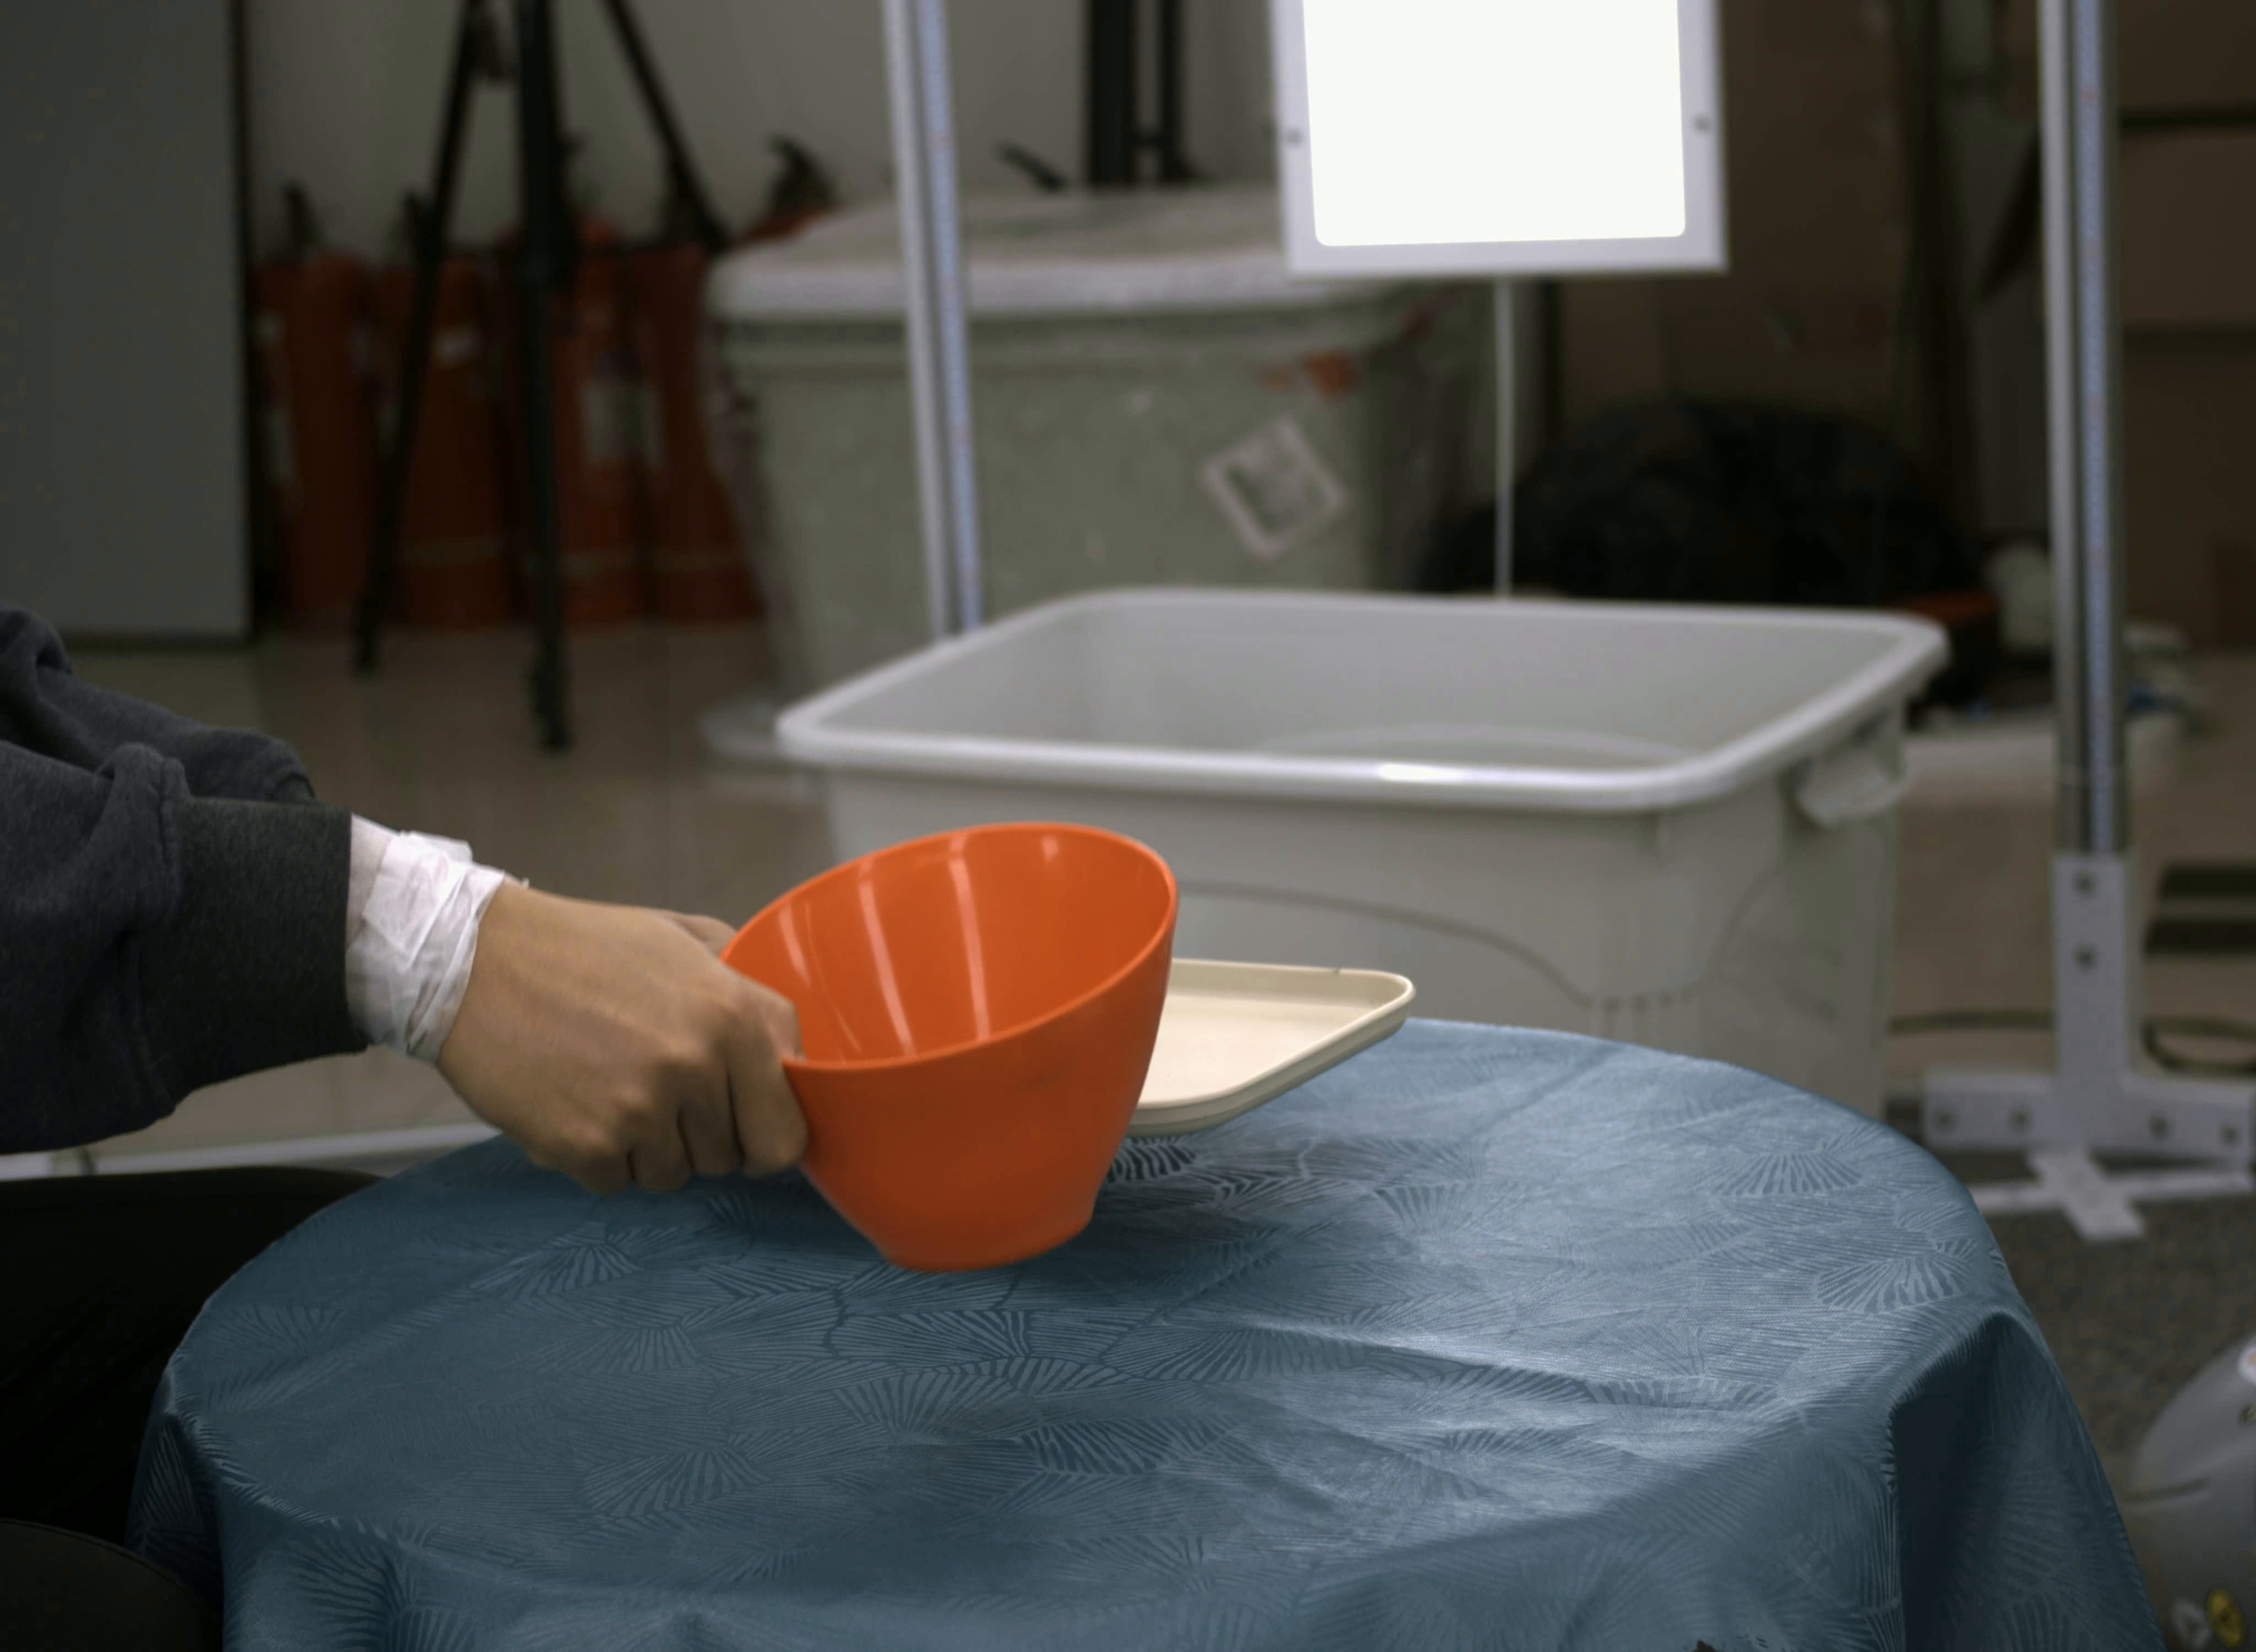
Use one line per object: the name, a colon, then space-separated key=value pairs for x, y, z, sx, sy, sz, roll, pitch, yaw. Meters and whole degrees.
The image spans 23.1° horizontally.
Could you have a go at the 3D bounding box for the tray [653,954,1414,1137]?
tray: x=-0.033 y=0.074 z=1.917 sx=0.244 sy=0.017 sz=0.167 roll=3 pitch=16 yaw=35

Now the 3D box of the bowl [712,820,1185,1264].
bowl: x=-0.049 y=0.070 z=1.684 sx=0.148 sy=0.105 sz=0.148 roll=-9 pitch=16 yaw=1
